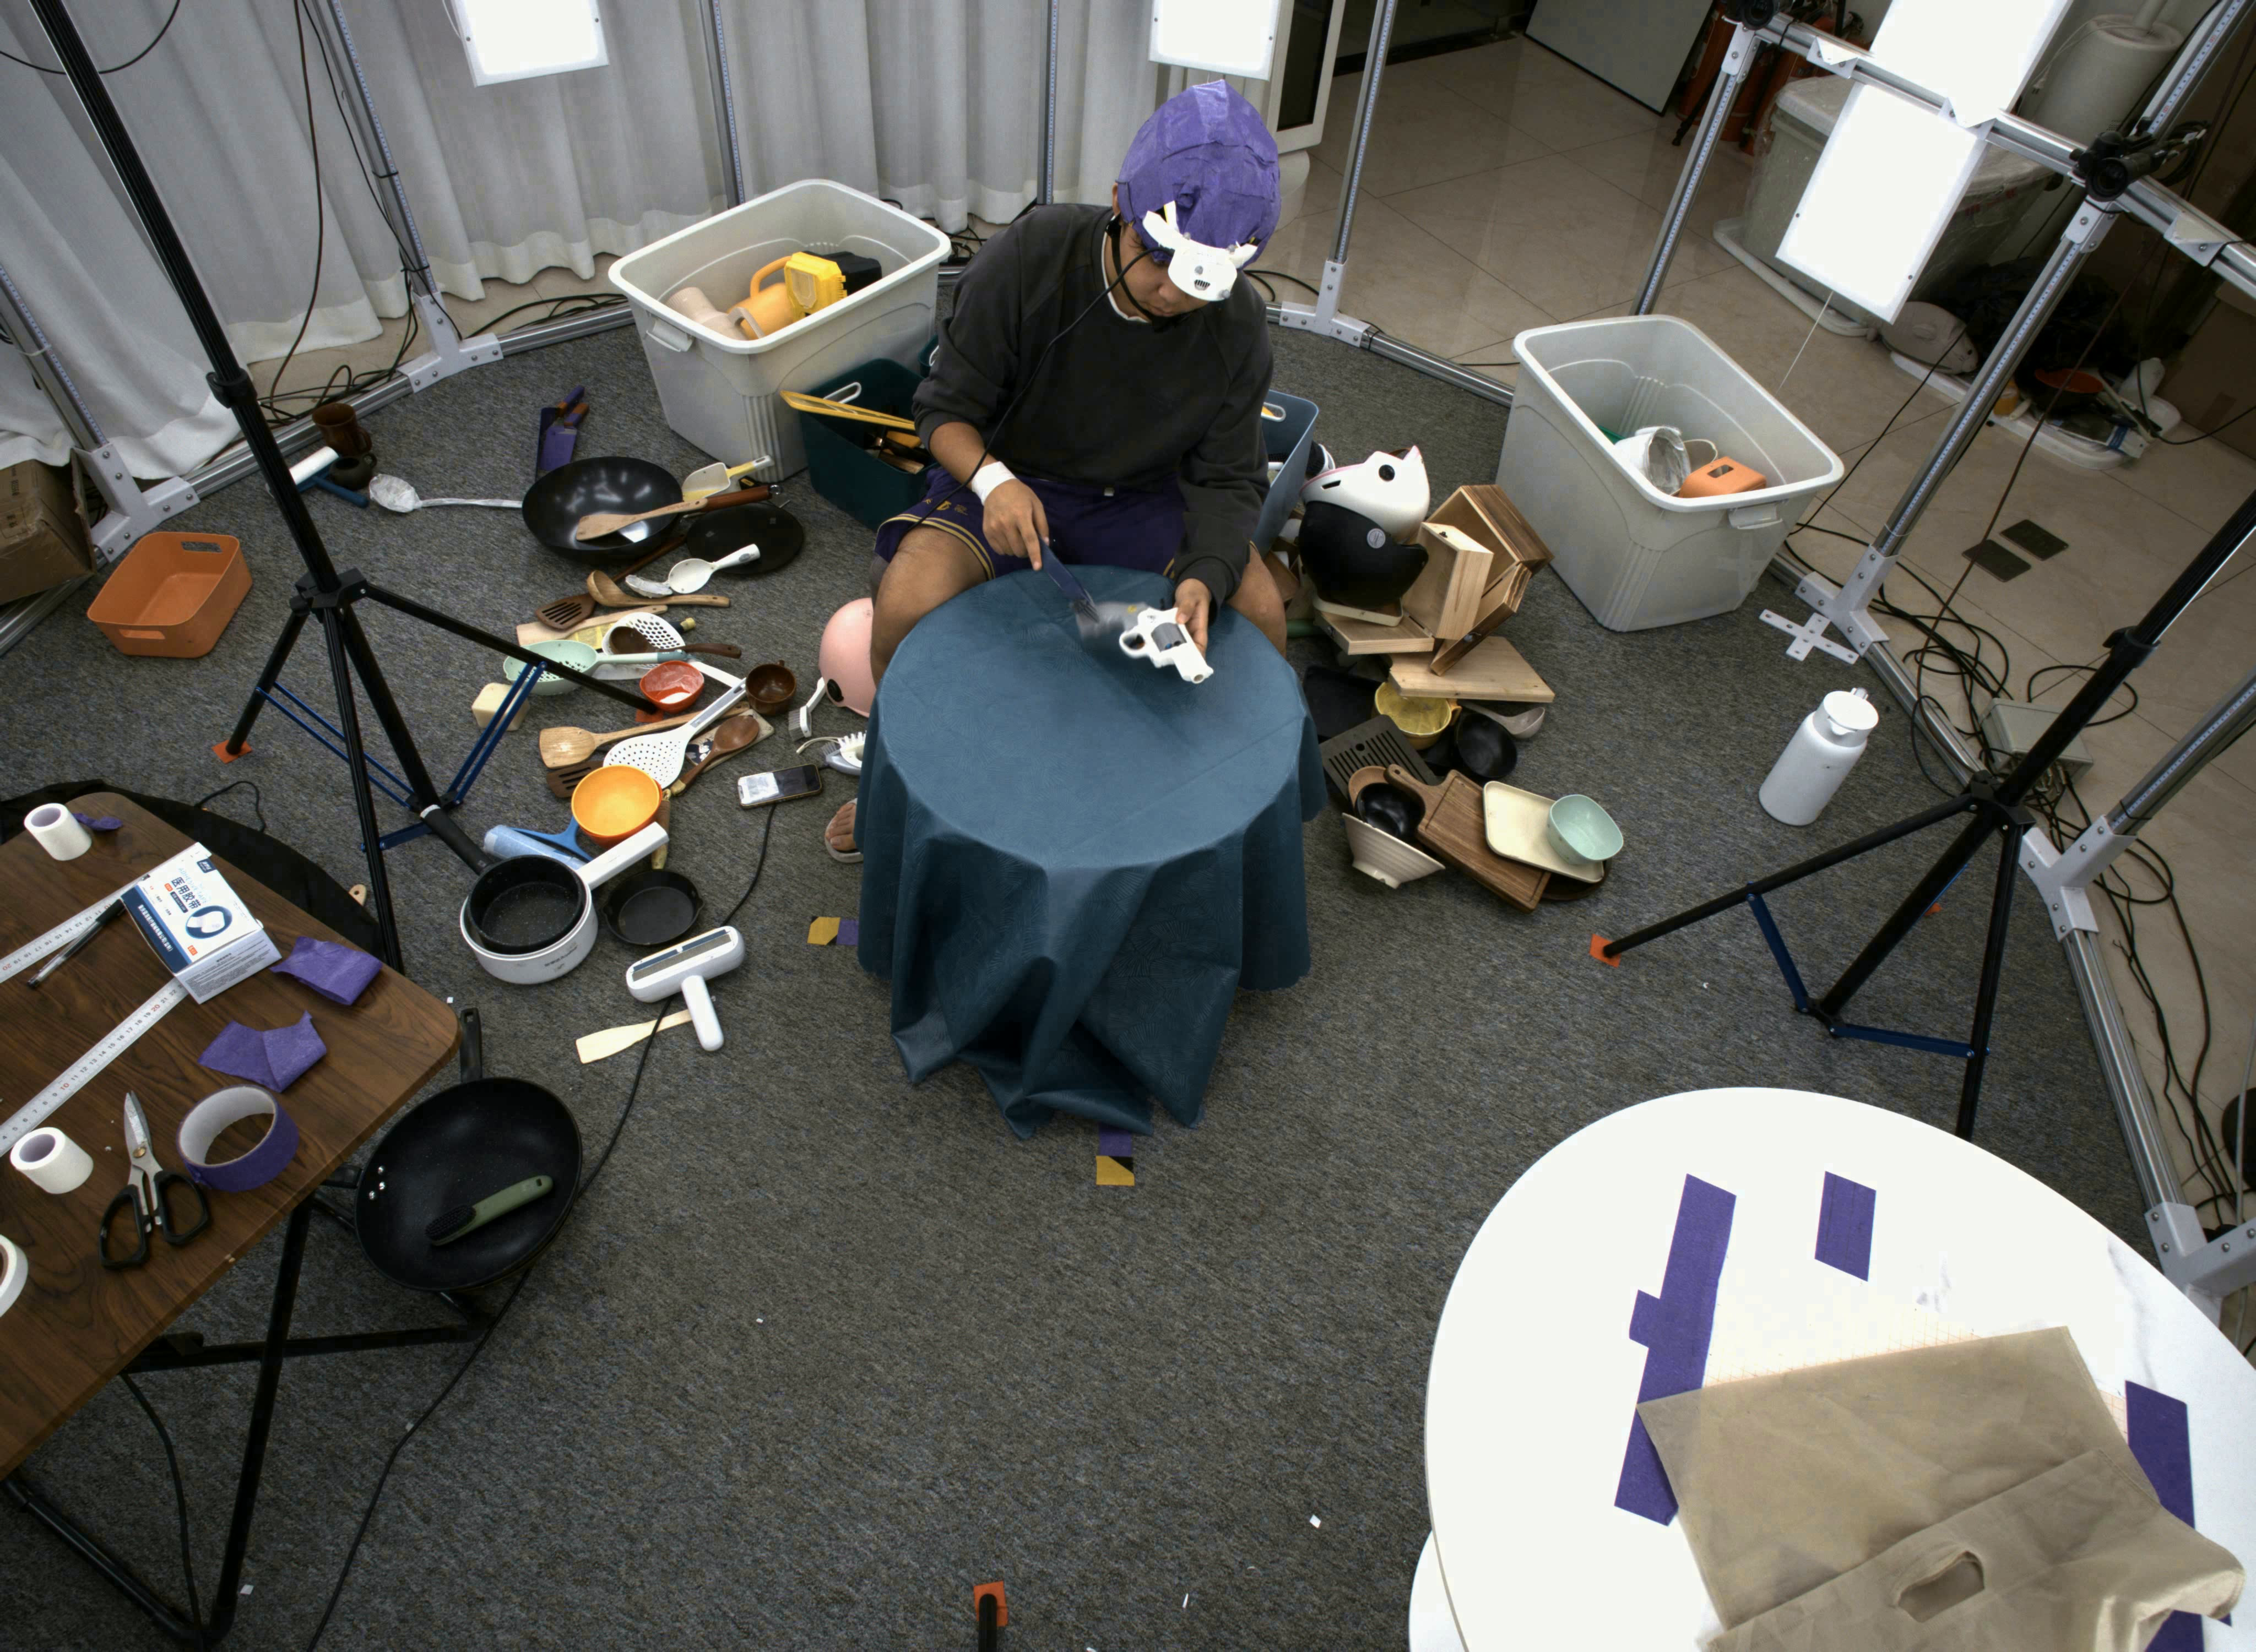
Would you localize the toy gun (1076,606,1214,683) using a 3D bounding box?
[{"bbox_3d":[0.019,-0.254,1.800,0.142,0.038,0.214,-23,49,-4],"label":"toy gun"}]

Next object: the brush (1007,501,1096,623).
[{"bbox_3d":[-0.118,-0.383,1.829,0.094,0.033,0.279,20,28,-53],"label":"brush"}]
